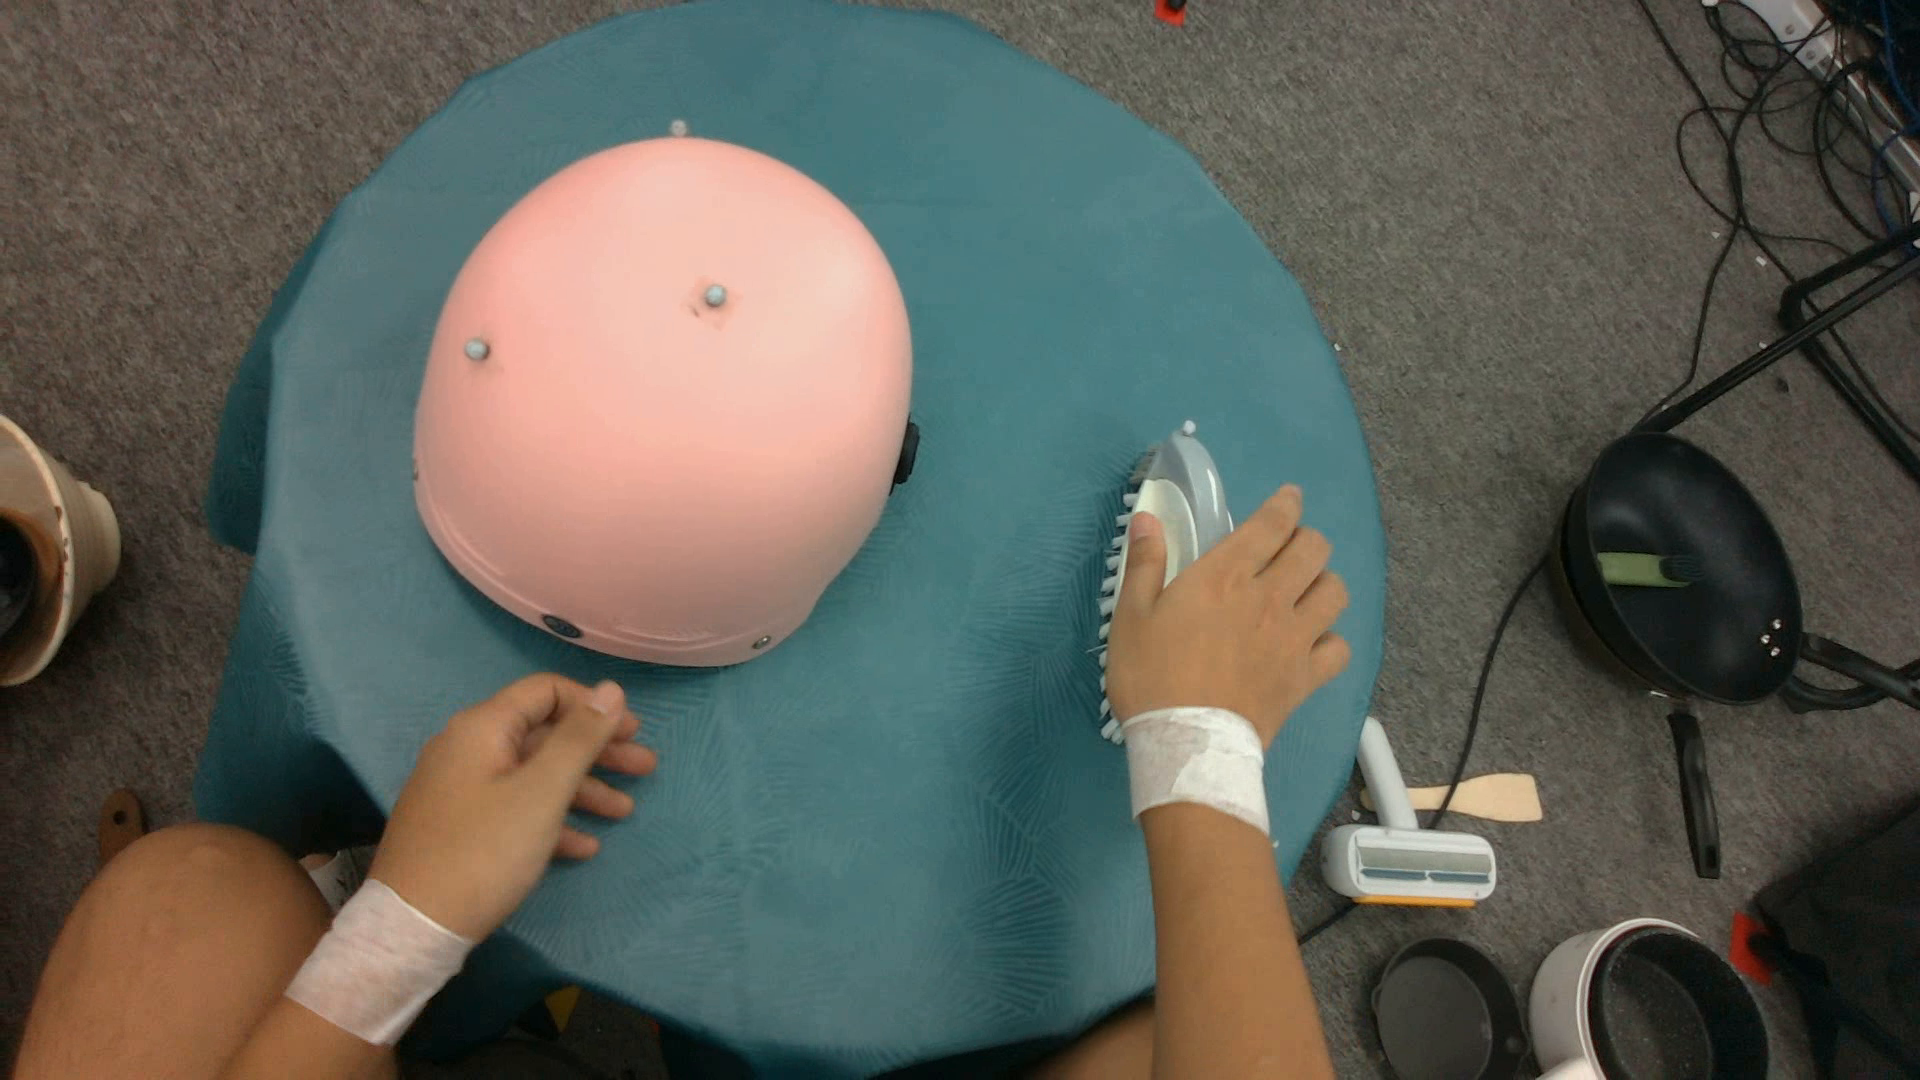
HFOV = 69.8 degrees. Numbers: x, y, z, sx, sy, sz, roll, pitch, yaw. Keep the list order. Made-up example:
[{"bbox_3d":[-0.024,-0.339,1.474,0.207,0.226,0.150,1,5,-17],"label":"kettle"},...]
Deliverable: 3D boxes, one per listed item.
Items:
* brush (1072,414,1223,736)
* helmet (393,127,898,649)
[{"bbox_3d":[0.101,0.005,0.708,0.061,0.094,0.176,12,64,-16],"label":"brush"},{"bbox_3d":[-0.131,-0.093,0.631,0.234,0.158,0.267,25,59,-8],"label":"helmet"}]
